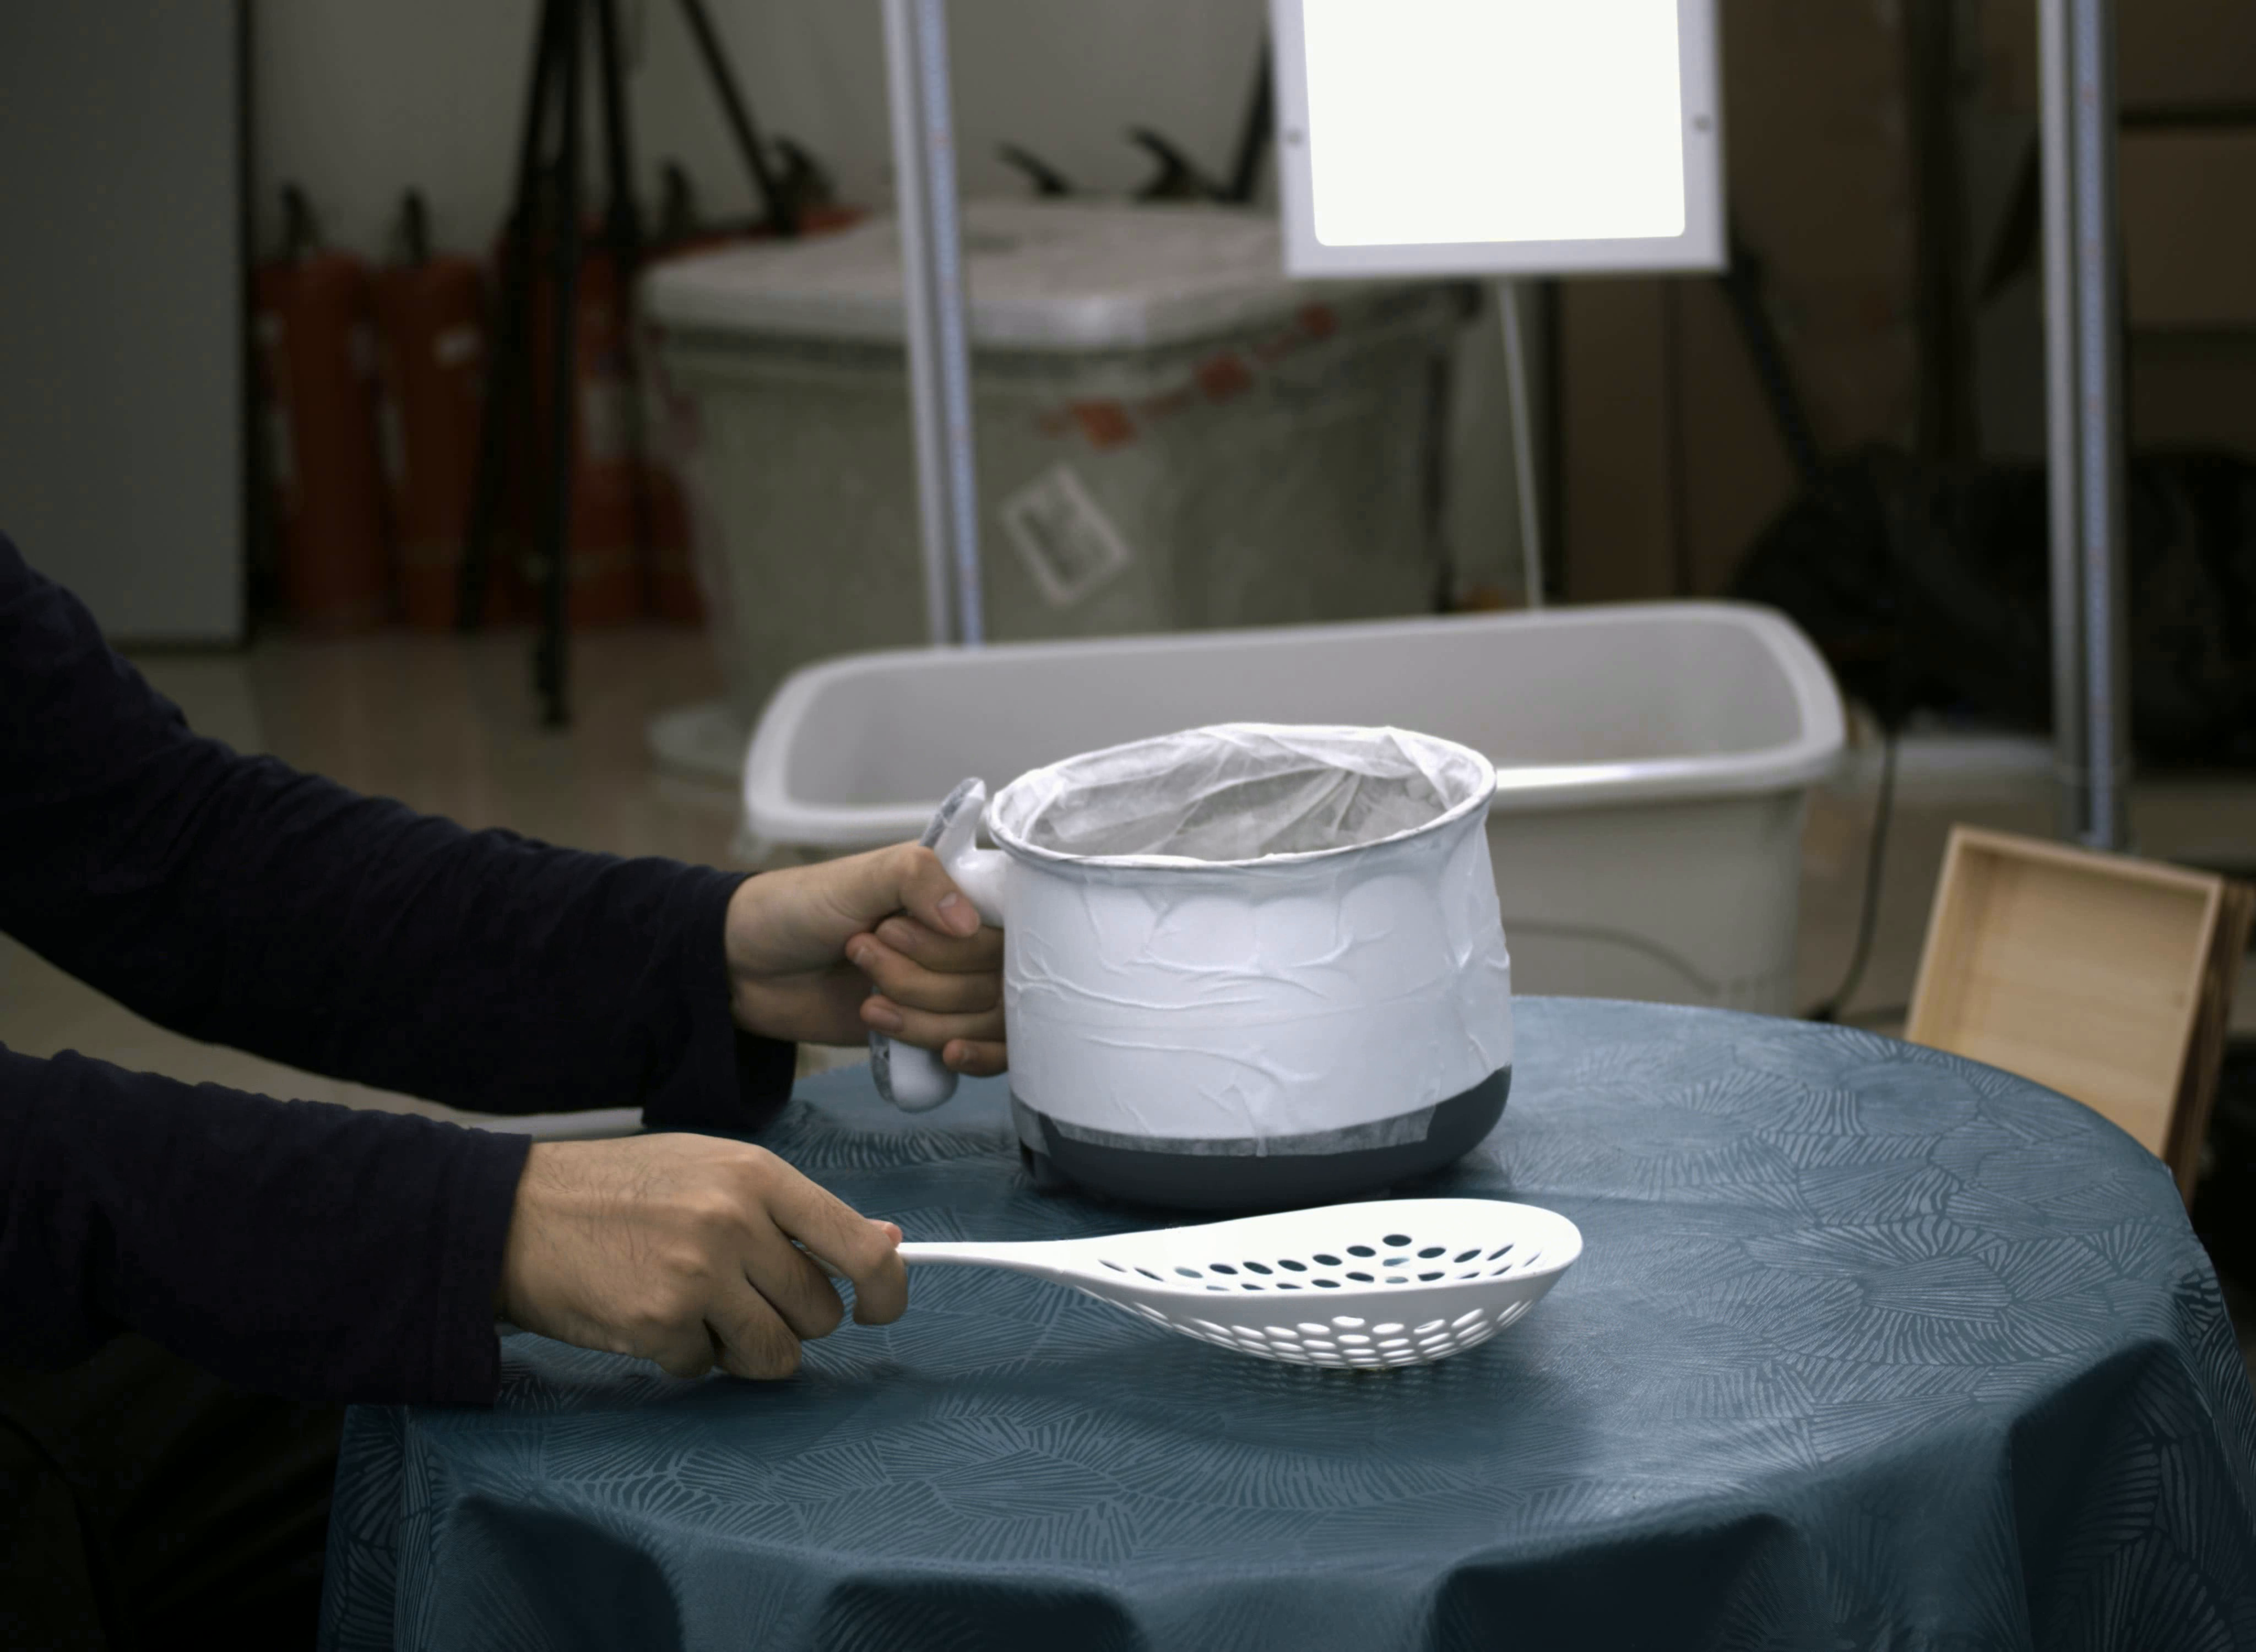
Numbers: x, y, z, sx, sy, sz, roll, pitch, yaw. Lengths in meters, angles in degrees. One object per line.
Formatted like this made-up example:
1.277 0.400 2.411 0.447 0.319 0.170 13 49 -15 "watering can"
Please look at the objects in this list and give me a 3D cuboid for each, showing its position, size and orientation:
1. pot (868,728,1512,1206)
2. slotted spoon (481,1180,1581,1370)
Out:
0.018 0.048 1.918 0.236 0.137 0.176 0 14 19 "pot"
-0.032 0.144 1.725 0.350 0.050 0.135 1 9 10 "slotted spoon"
